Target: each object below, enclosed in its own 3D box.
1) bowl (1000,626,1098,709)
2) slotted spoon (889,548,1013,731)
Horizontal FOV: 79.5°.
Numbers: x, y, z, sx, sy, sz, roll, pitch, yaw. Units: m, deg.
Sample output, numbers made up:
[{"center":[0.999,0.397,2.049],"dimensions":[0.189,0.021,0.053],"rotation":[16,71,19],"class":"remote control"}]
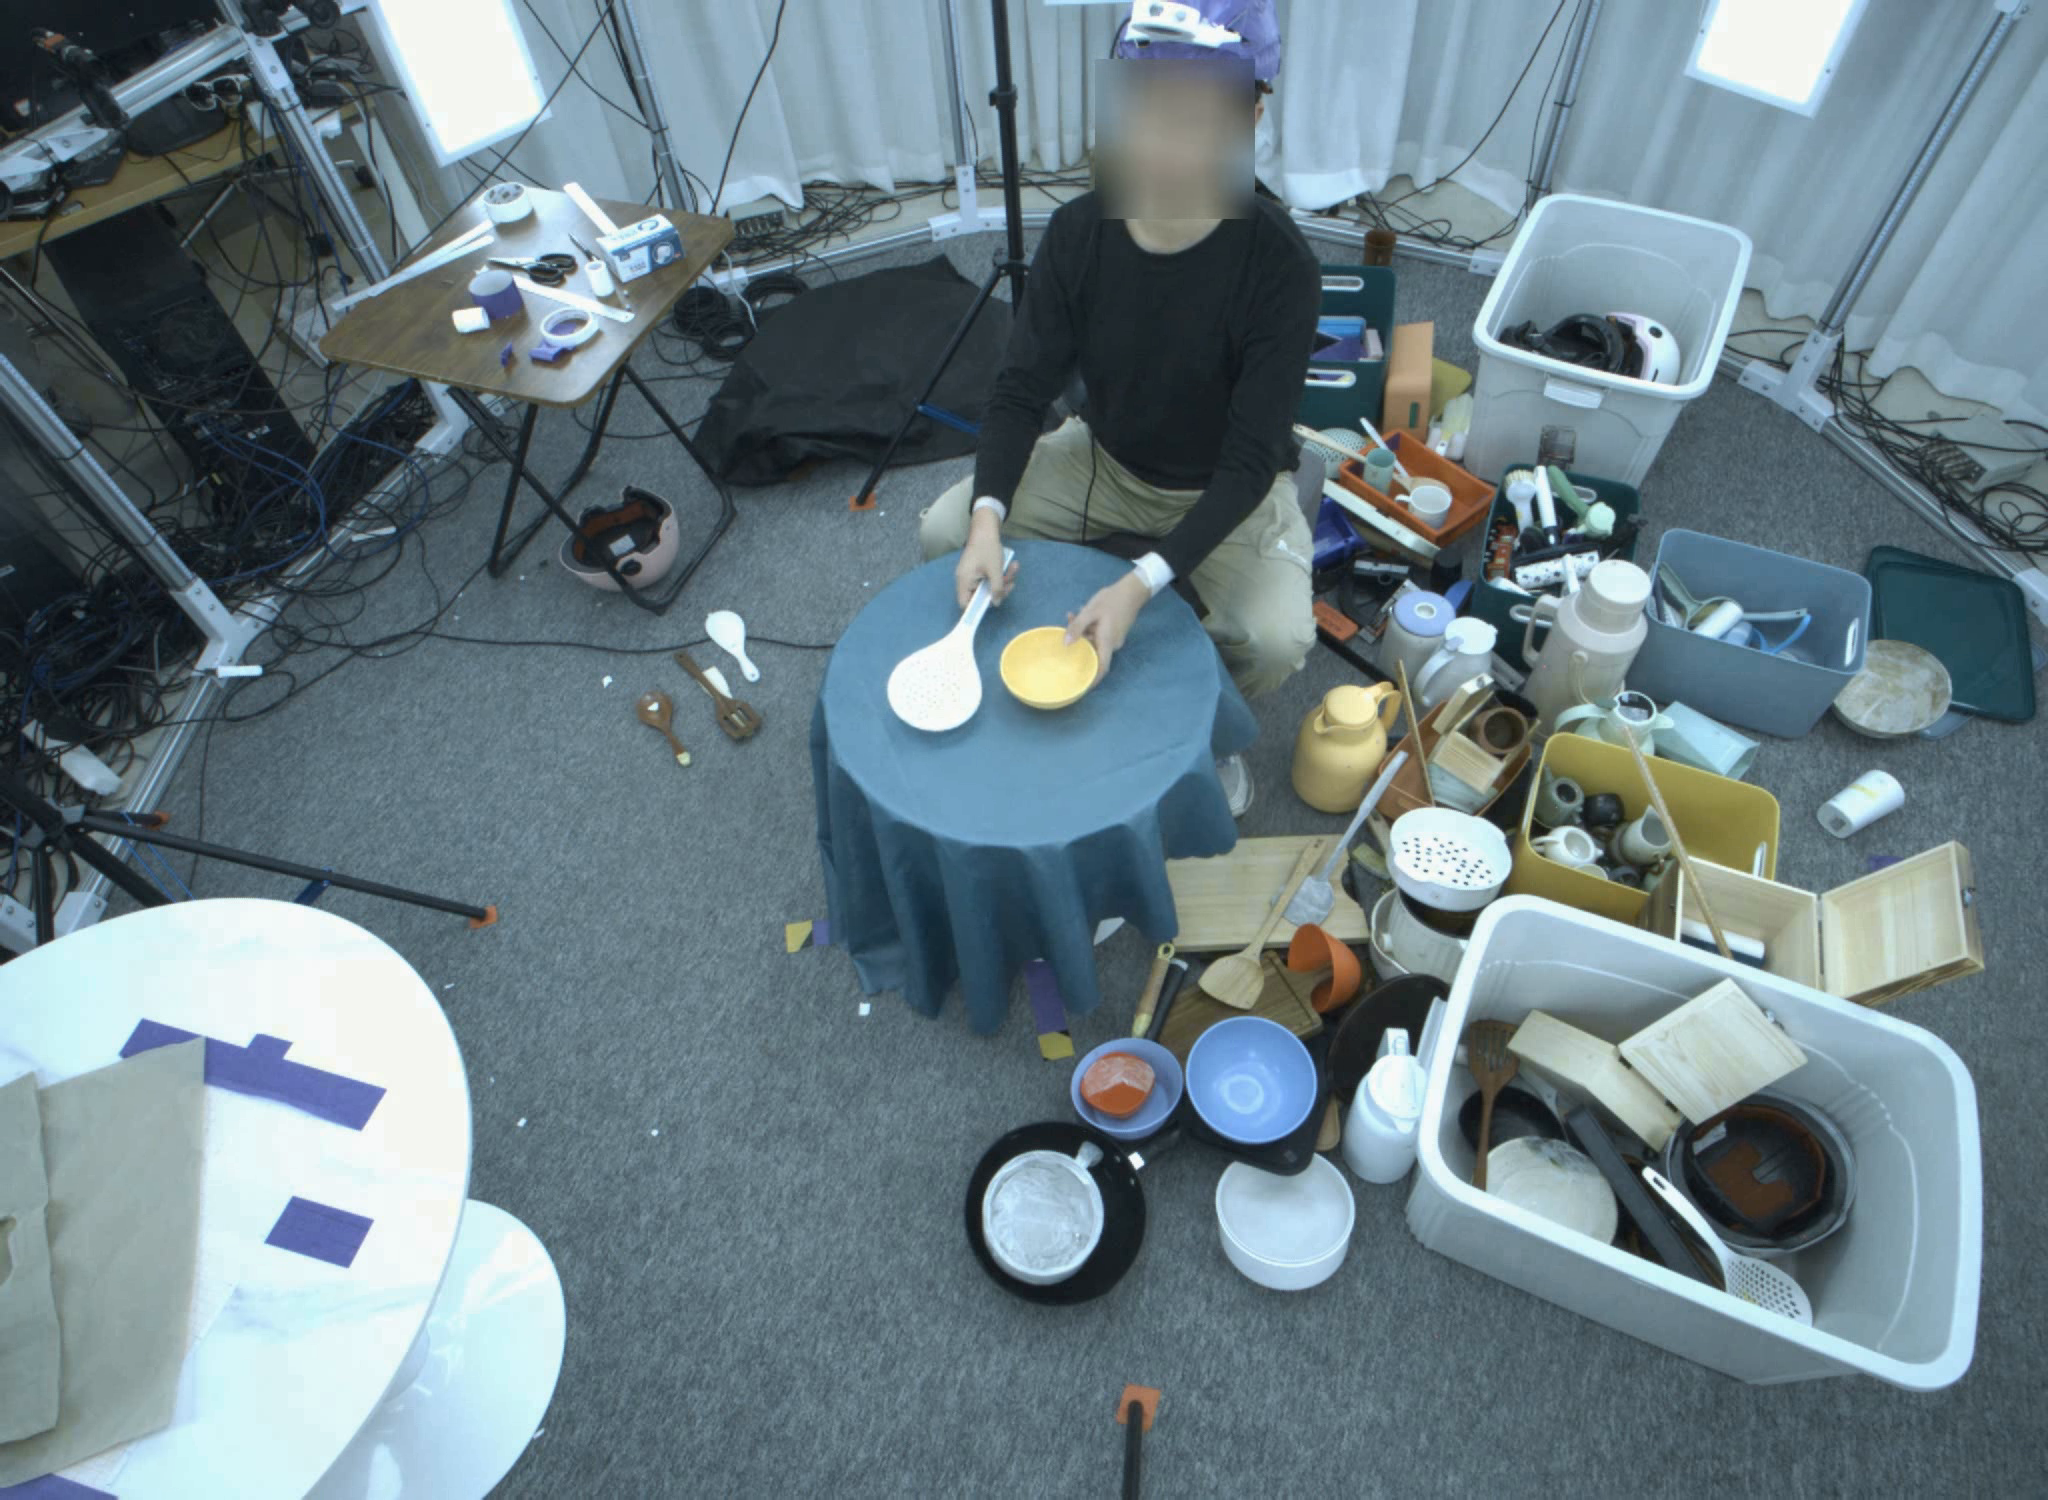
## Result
[{"center":[0.037,-0.111,1.830],"dimensions":[0.145,0.061,0.144],"rotation":[0,56,1],"class":"bowl"},{"center":[-0.093,-0.173,1.859],"dimensions":[0.136,0.046,0.349],"rotation":[22,68,3],"class":"slotted spoon"}]
